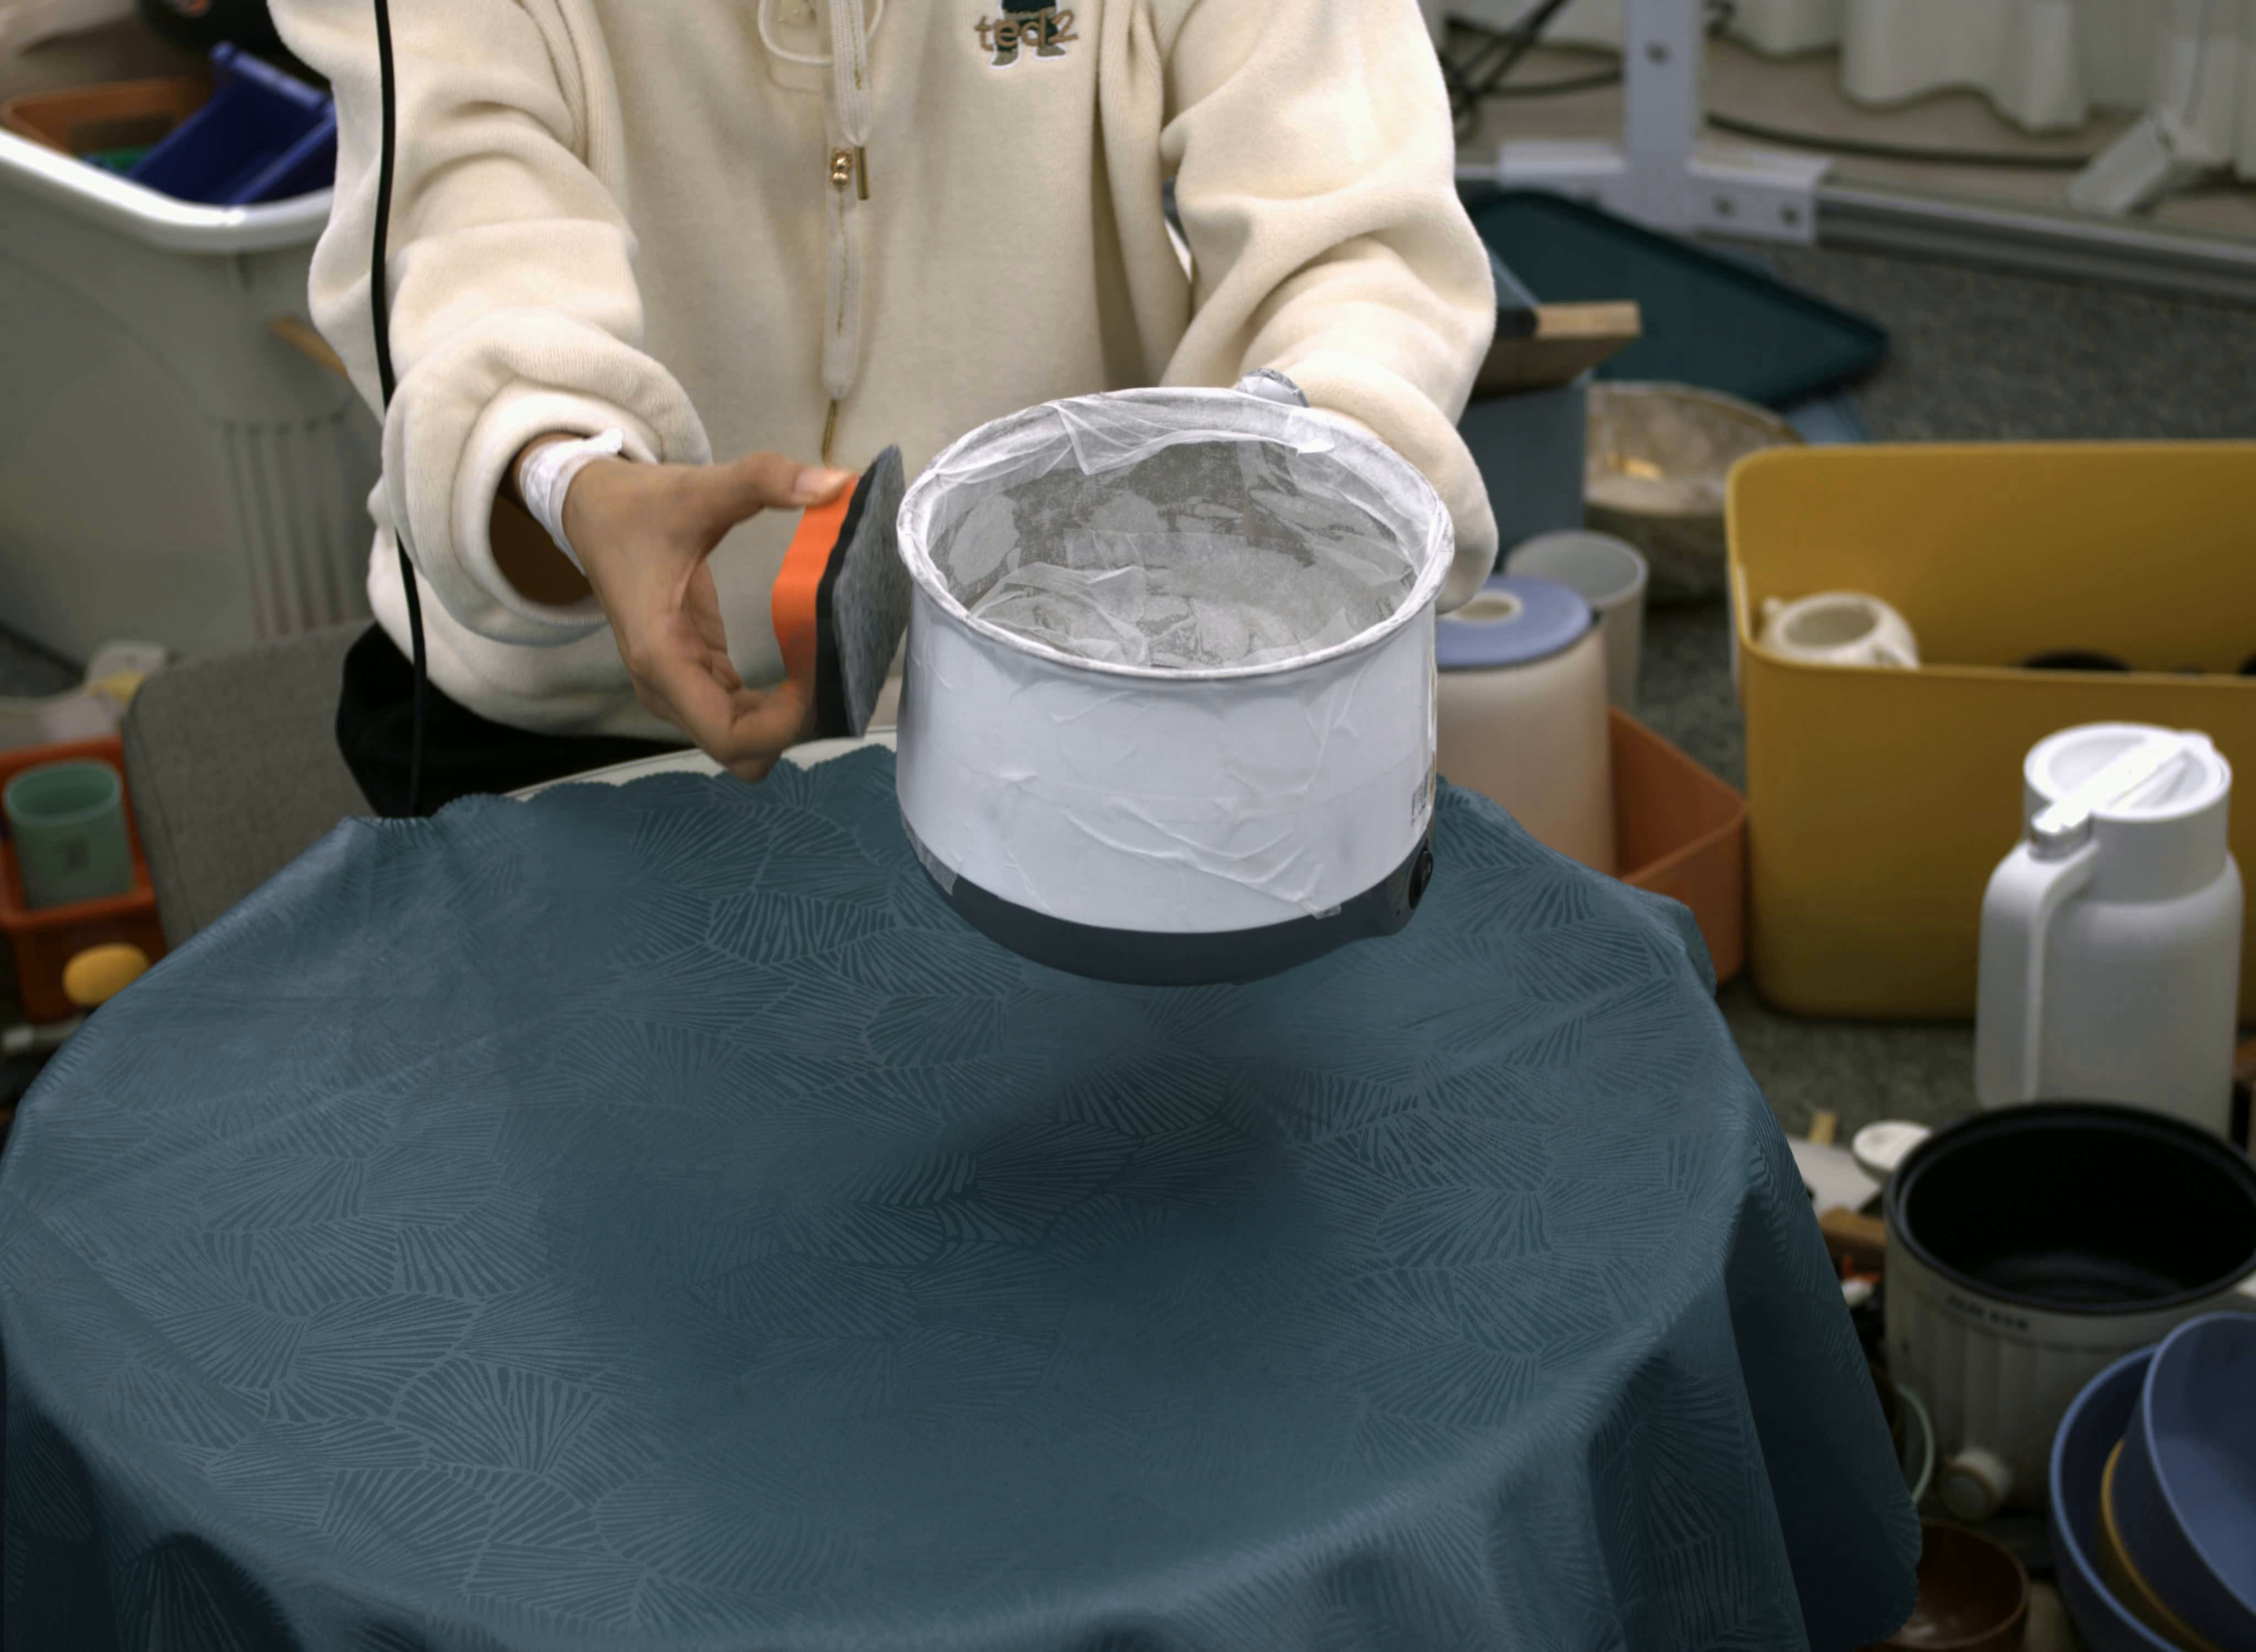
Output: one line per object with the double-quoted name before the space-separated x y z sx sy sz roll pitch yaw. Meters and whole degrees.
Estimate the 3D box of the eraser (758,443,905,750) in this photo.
"eraser" -0.095 -0.074 1.813 0.023 0.058 0.110 -4 32 11

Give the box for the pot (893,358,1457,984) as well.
"pot" 0.021 -0.060 1.837 0.178 0.134 0.238 12 35 12
